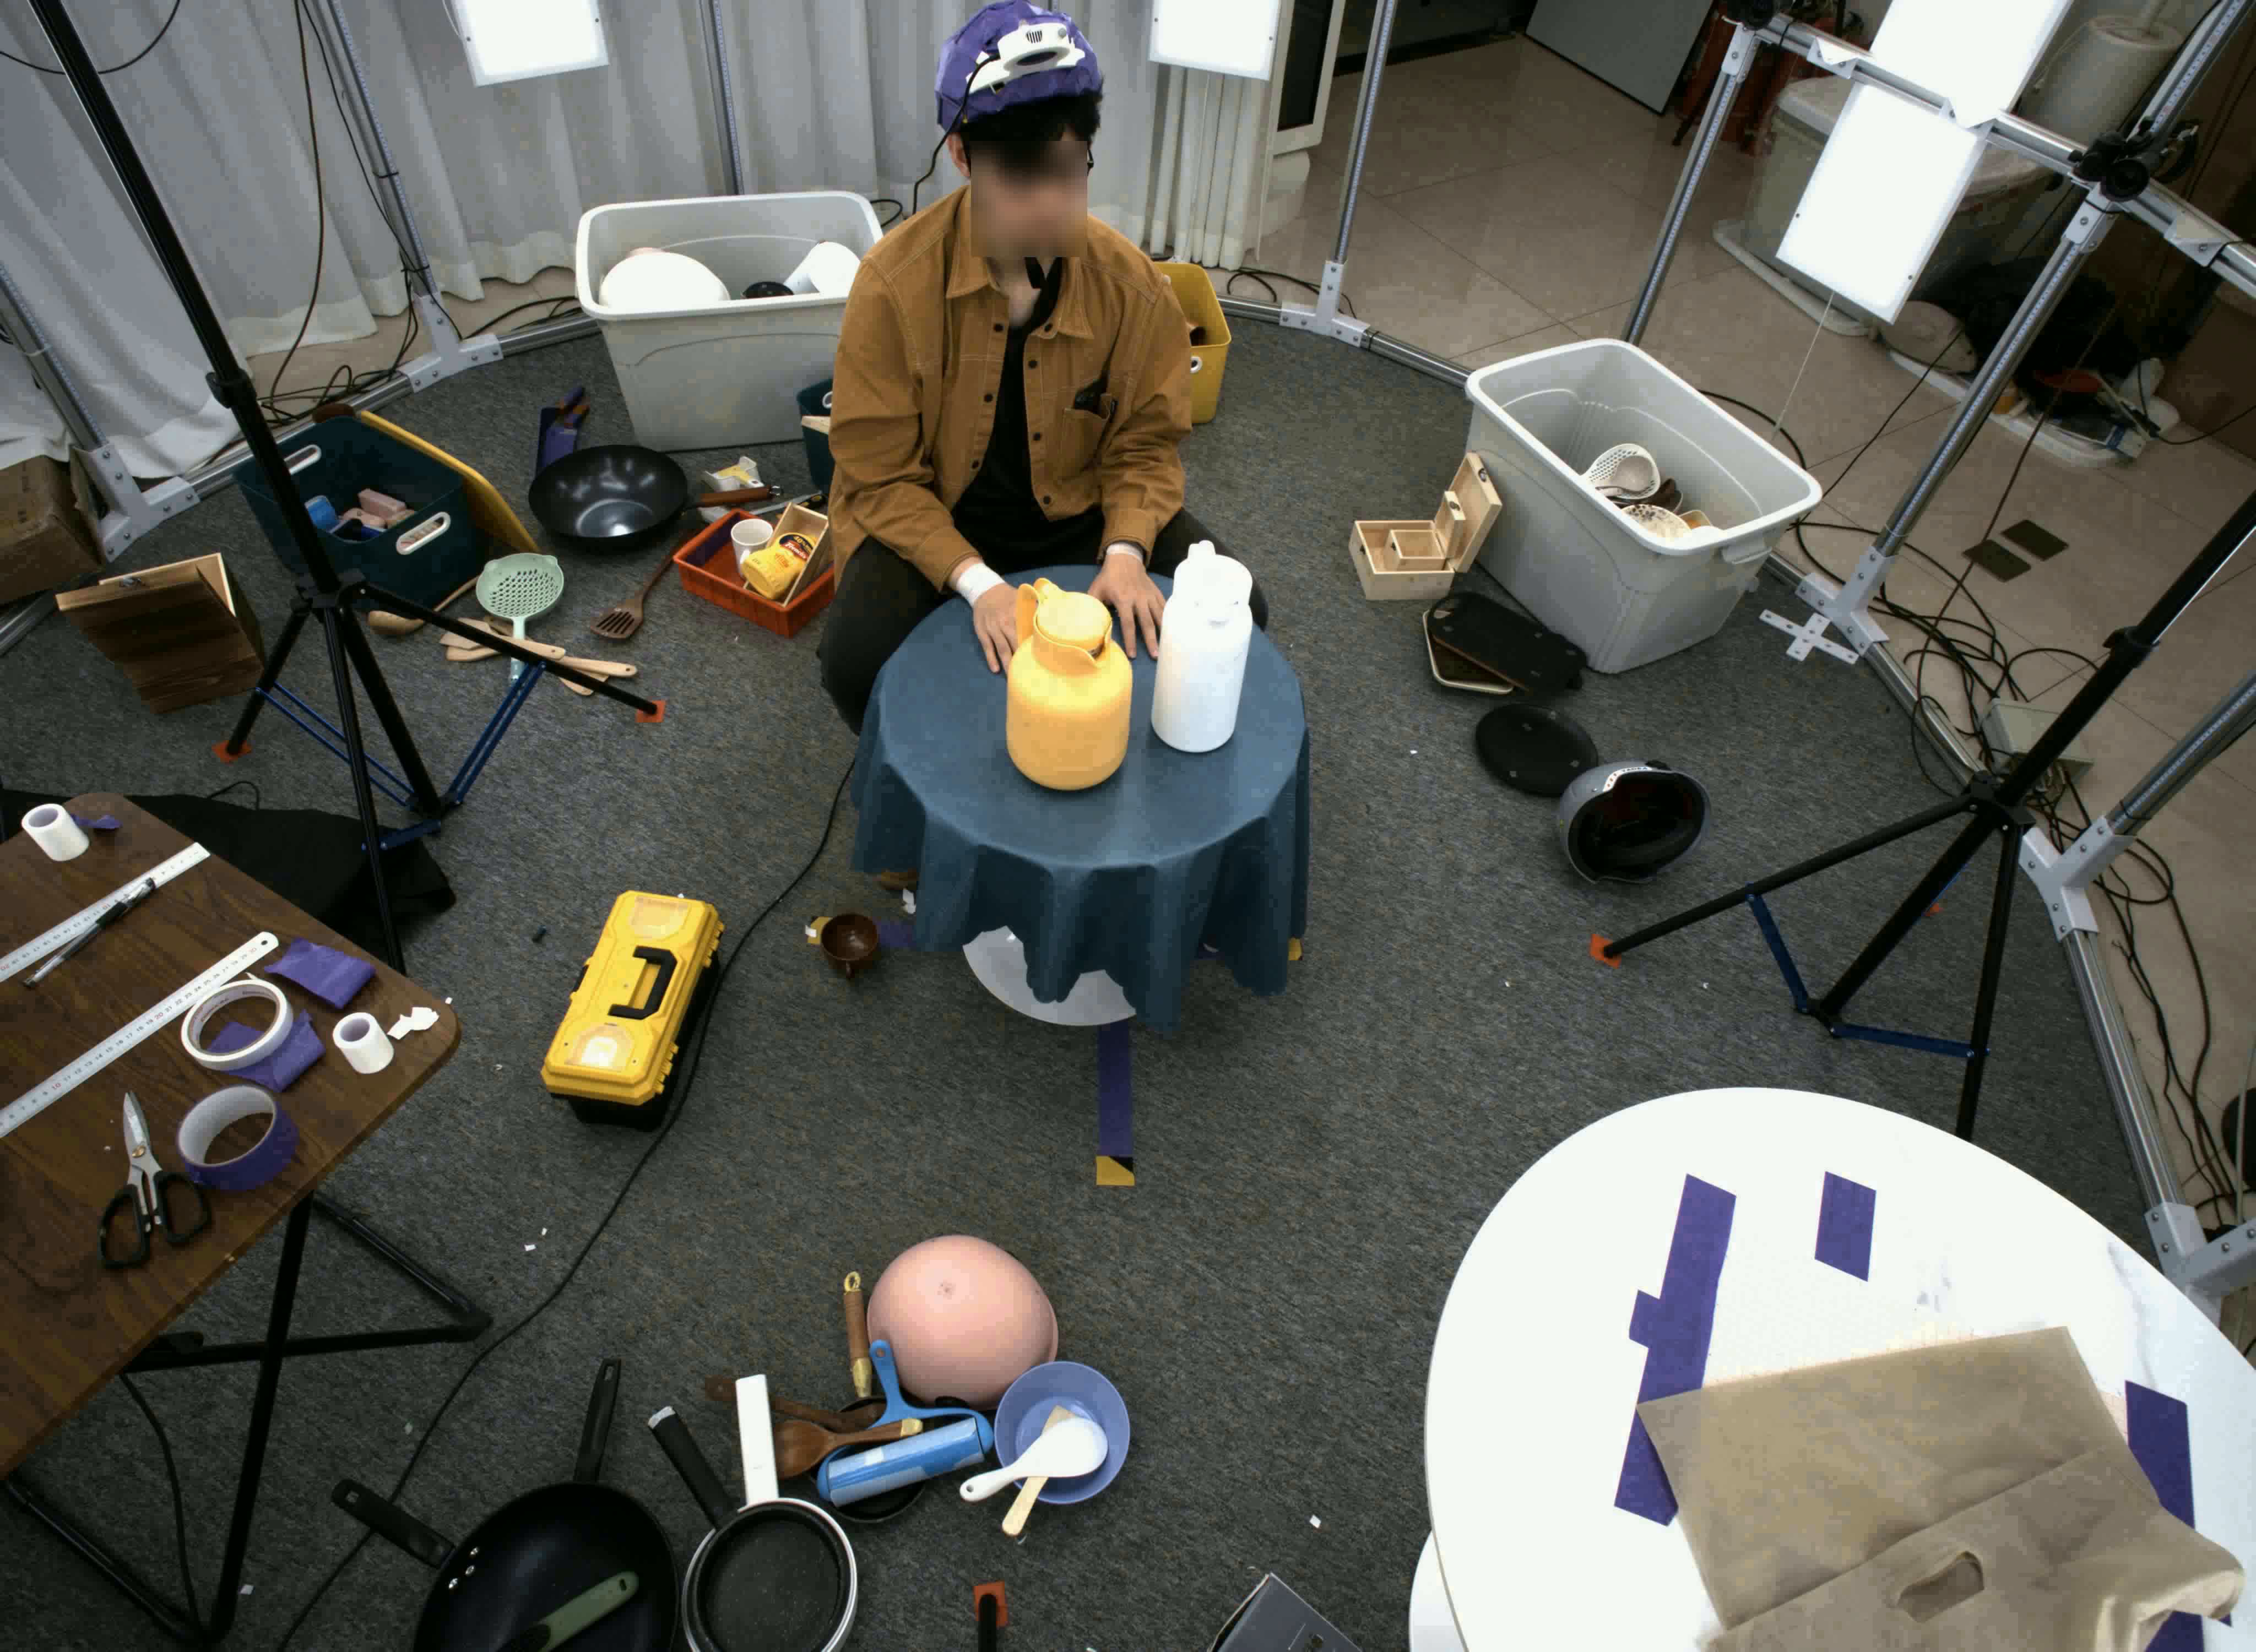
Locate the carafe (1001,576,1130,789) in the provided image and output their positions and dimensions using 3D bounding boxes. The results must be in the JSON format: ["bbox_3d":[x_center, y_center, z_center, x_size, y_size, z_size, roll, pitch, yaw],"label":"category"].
[{"bbox_3d":[-0.087,-0.193,1.660,0.164,0.254,0.207,-19,55,-23],"label":"carafe"}]

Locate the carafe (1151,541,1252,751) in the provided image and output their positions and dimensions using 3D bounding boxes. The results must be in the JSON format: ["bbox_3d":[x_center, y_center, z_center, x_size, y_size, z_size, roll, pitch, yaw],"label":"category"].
[{"bbox_3d":[0.094,-0.240,1.711,0.124,0.262,0.177,-4,50,-5],"label":"carafe"}]
